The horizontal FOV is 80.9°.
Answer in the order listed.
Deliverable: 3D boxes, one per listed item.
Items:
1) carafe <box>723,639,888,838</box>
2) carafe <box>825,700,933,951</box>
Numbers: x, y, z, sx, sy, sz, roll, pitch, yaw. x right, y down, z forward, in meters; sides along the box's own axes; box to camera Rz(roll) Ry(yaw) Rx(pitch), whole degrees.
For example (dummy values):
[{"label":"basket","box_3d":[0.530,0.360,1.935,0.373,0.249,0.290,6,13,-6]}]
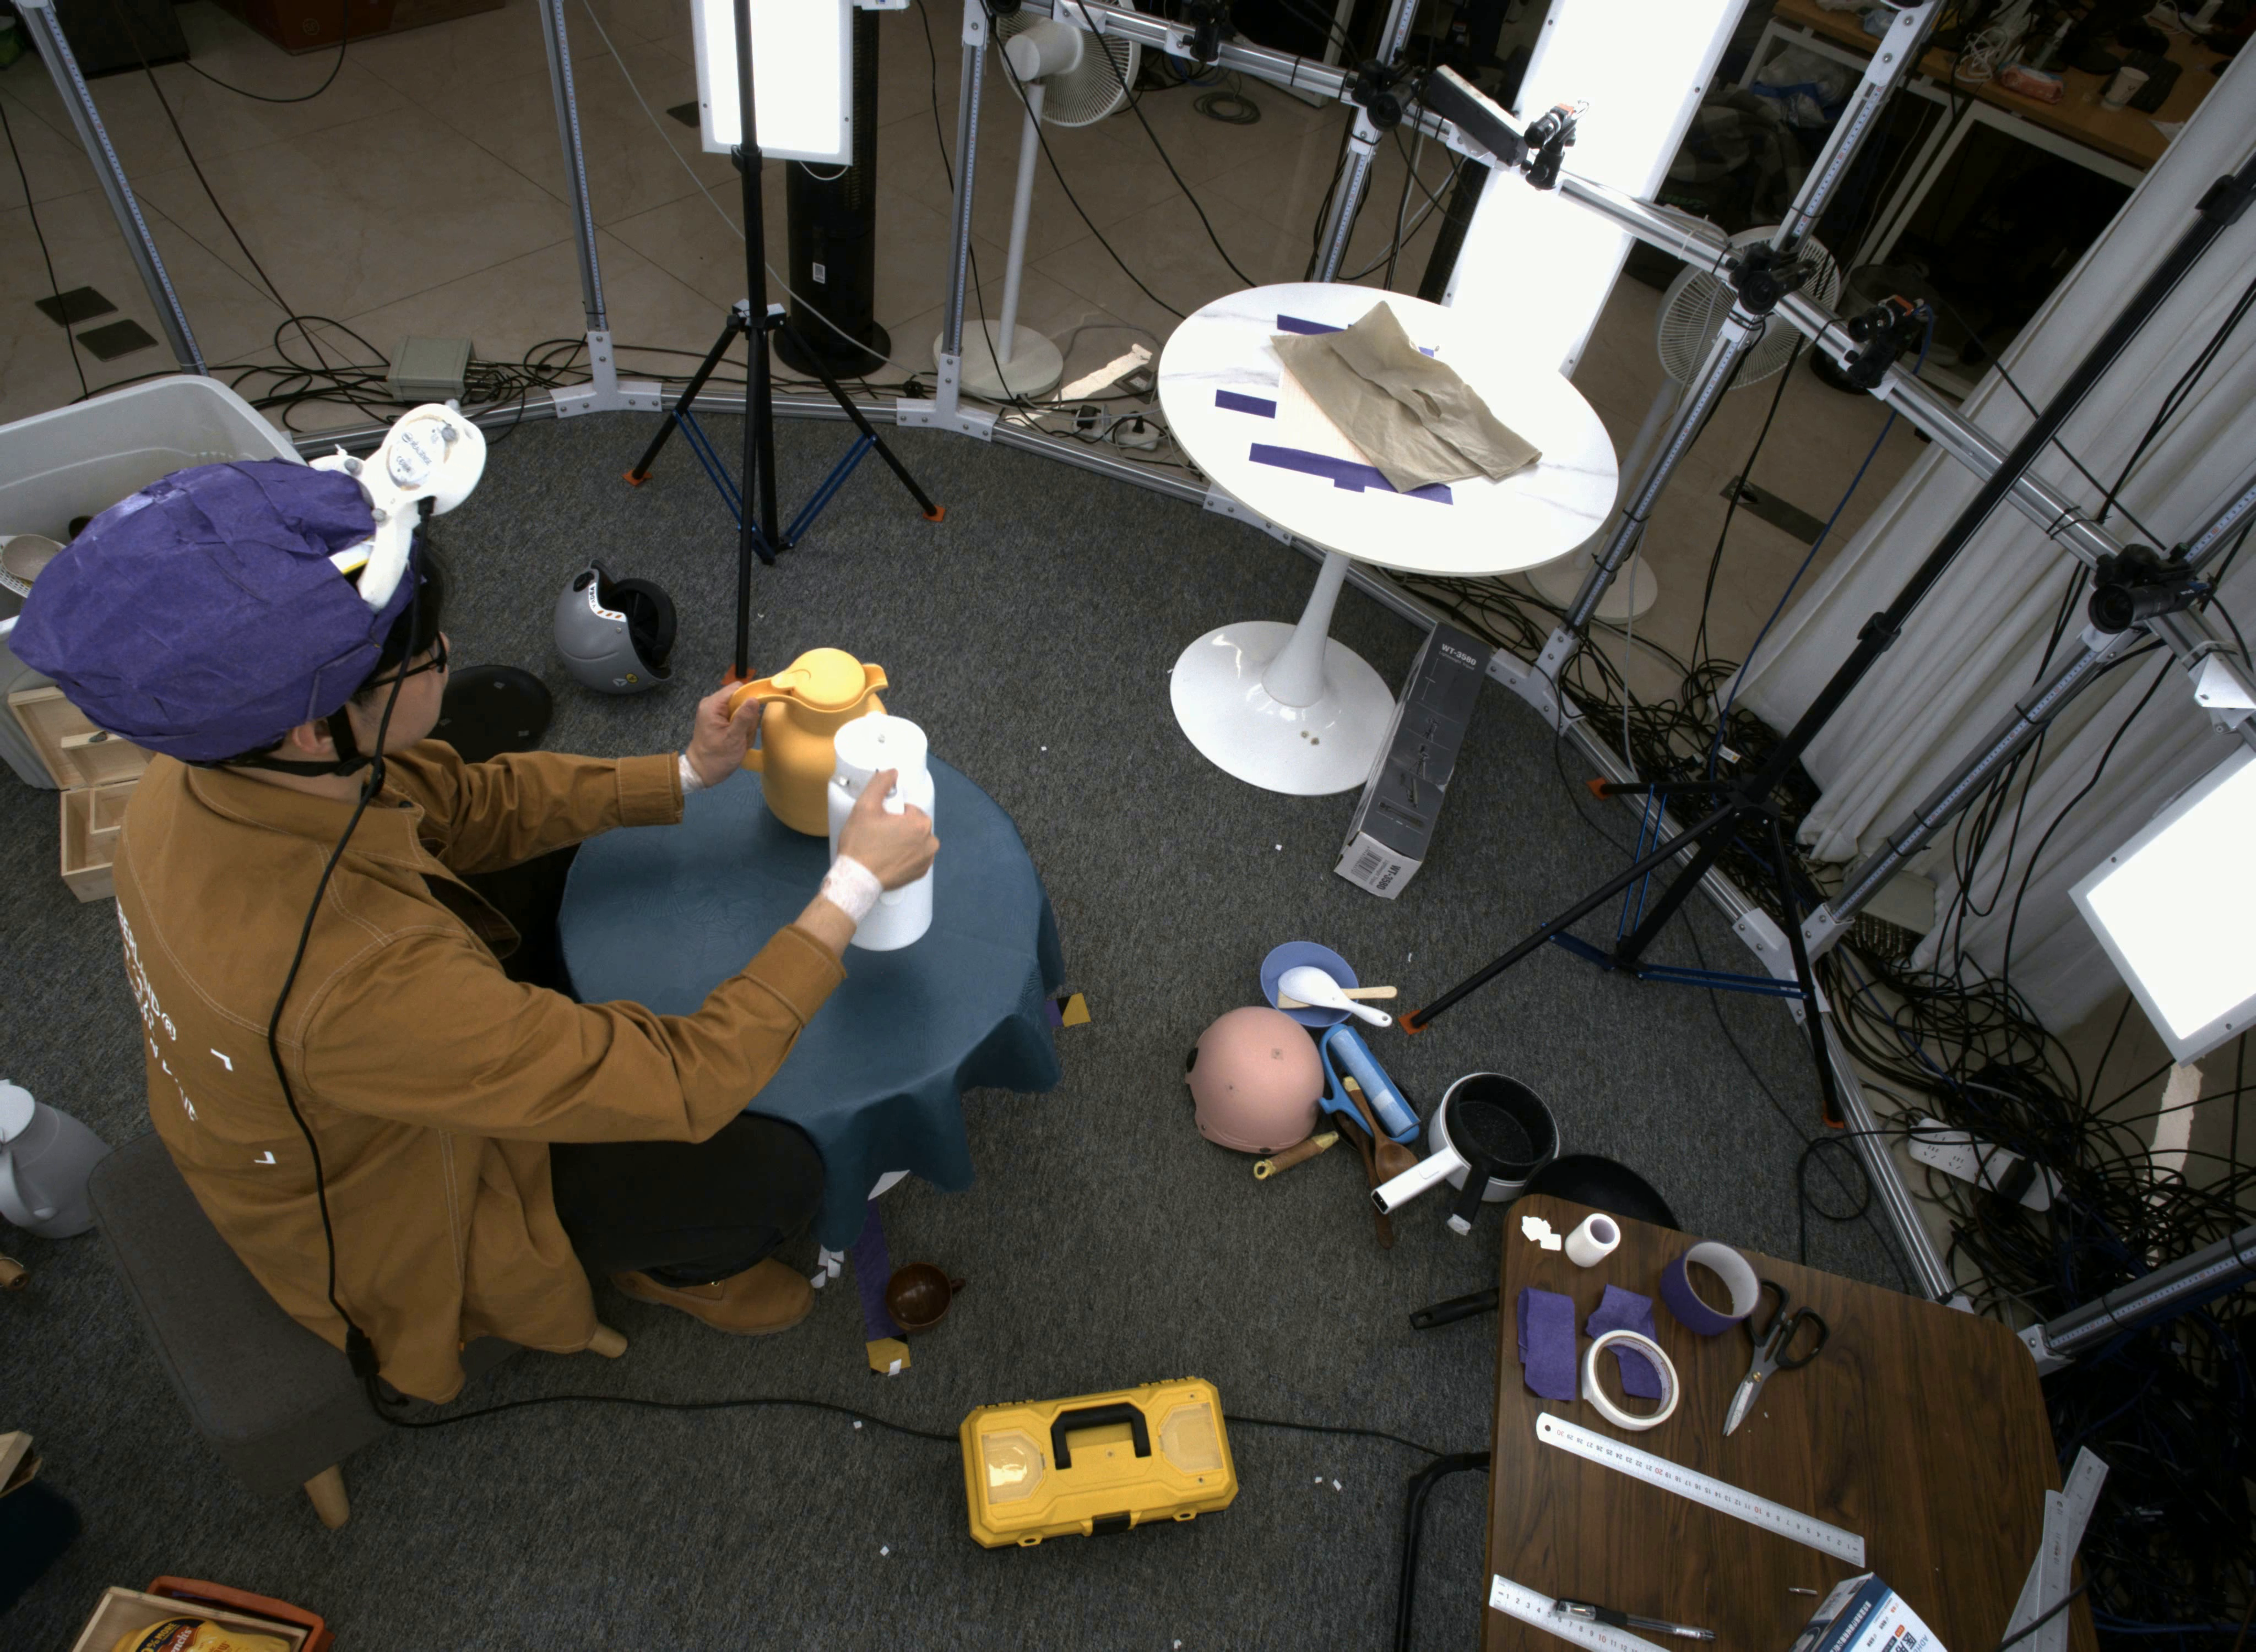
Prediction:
[{"label":"carafe","box_3d":[-0.401,-0.114,1.621,0.203,0.265,0.160,-6,56,-20]},{"label":"carafe","box_3d":[-0.274,0.018,1.453,0.124,0.276,0.168,-3,42,-16]}]
